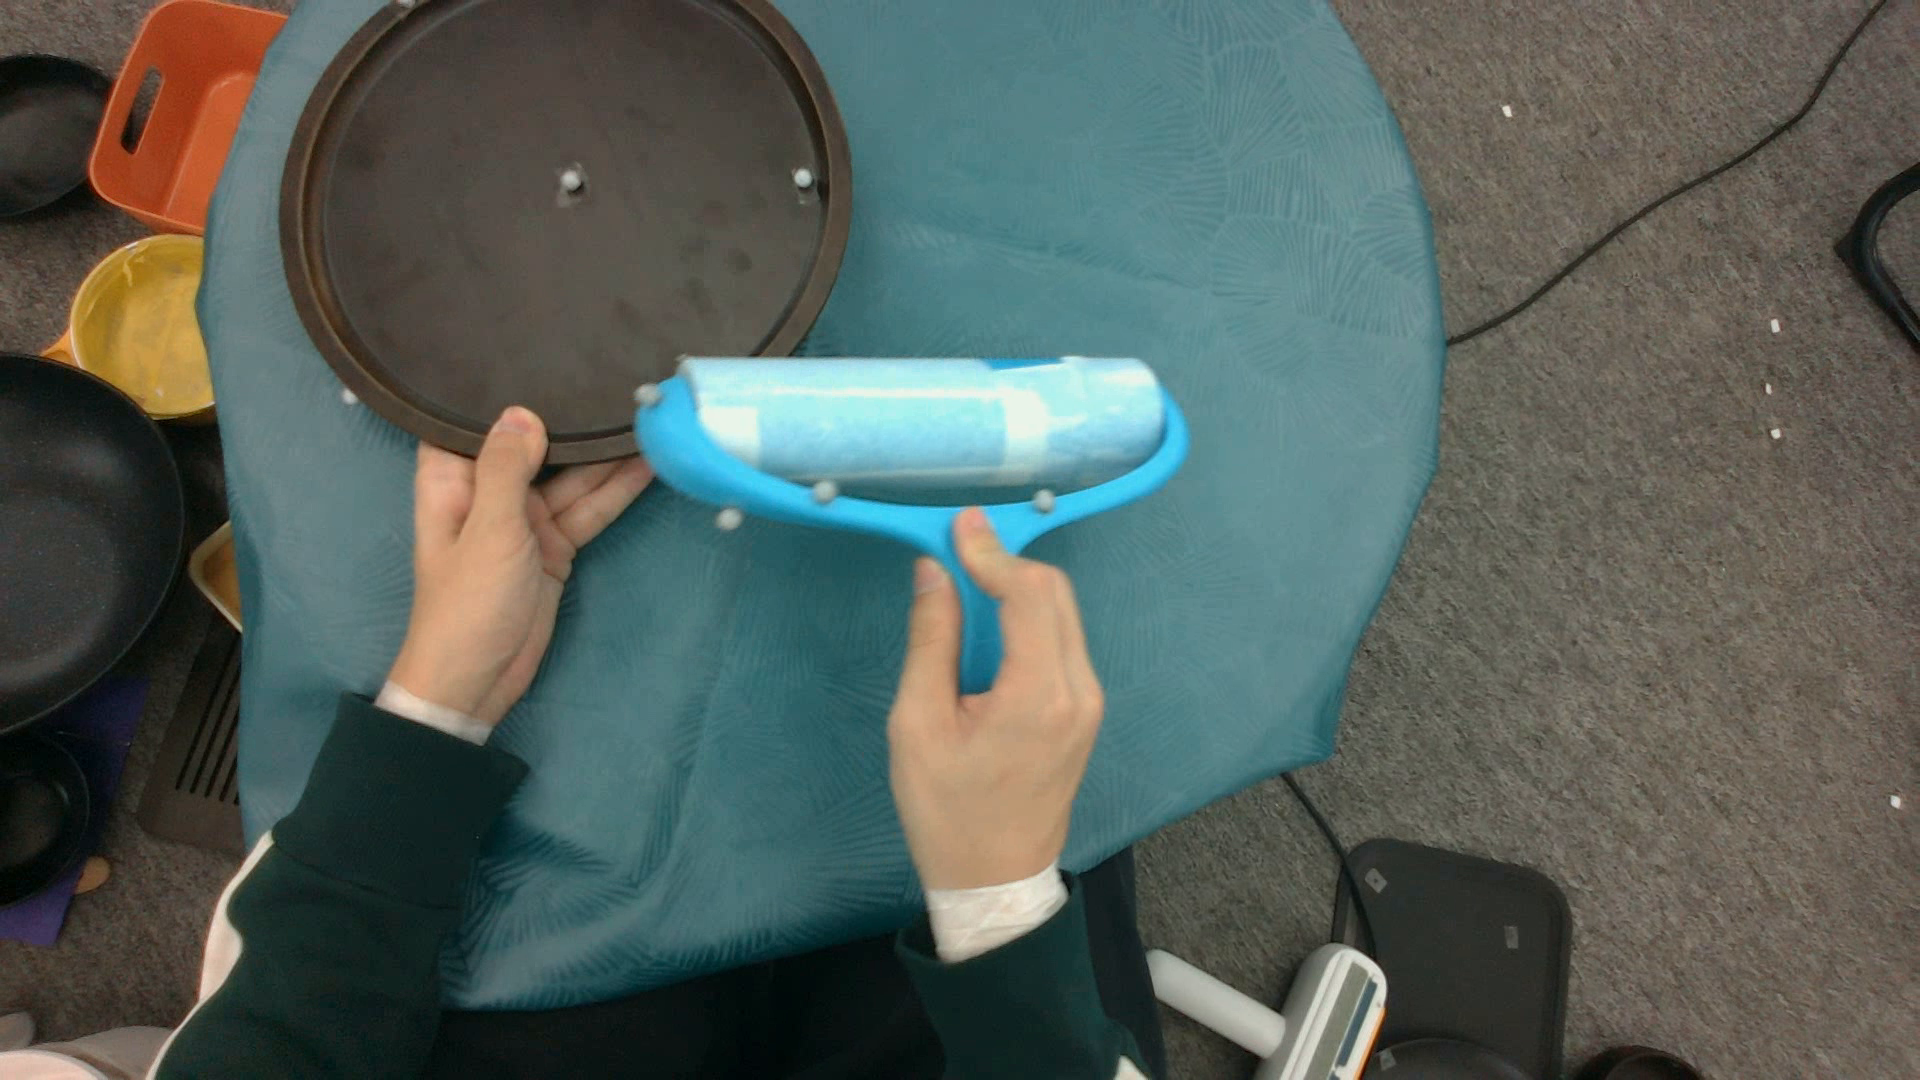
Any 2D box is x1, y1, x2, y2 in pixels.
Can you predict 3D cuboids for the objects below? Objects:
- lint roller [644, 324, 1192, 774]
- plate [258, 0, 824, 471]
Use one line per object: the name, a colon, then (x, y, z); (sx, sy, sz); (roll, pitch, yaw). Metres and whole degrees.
lint roller: (0.001, -0.001, 0.544); (0.229, 0.067, 0.180); (-7, 77, -25)
plate: (-0.187, -0.152, 0.623); (0.255, 0.029, 0.255); (0, 76, 1)
